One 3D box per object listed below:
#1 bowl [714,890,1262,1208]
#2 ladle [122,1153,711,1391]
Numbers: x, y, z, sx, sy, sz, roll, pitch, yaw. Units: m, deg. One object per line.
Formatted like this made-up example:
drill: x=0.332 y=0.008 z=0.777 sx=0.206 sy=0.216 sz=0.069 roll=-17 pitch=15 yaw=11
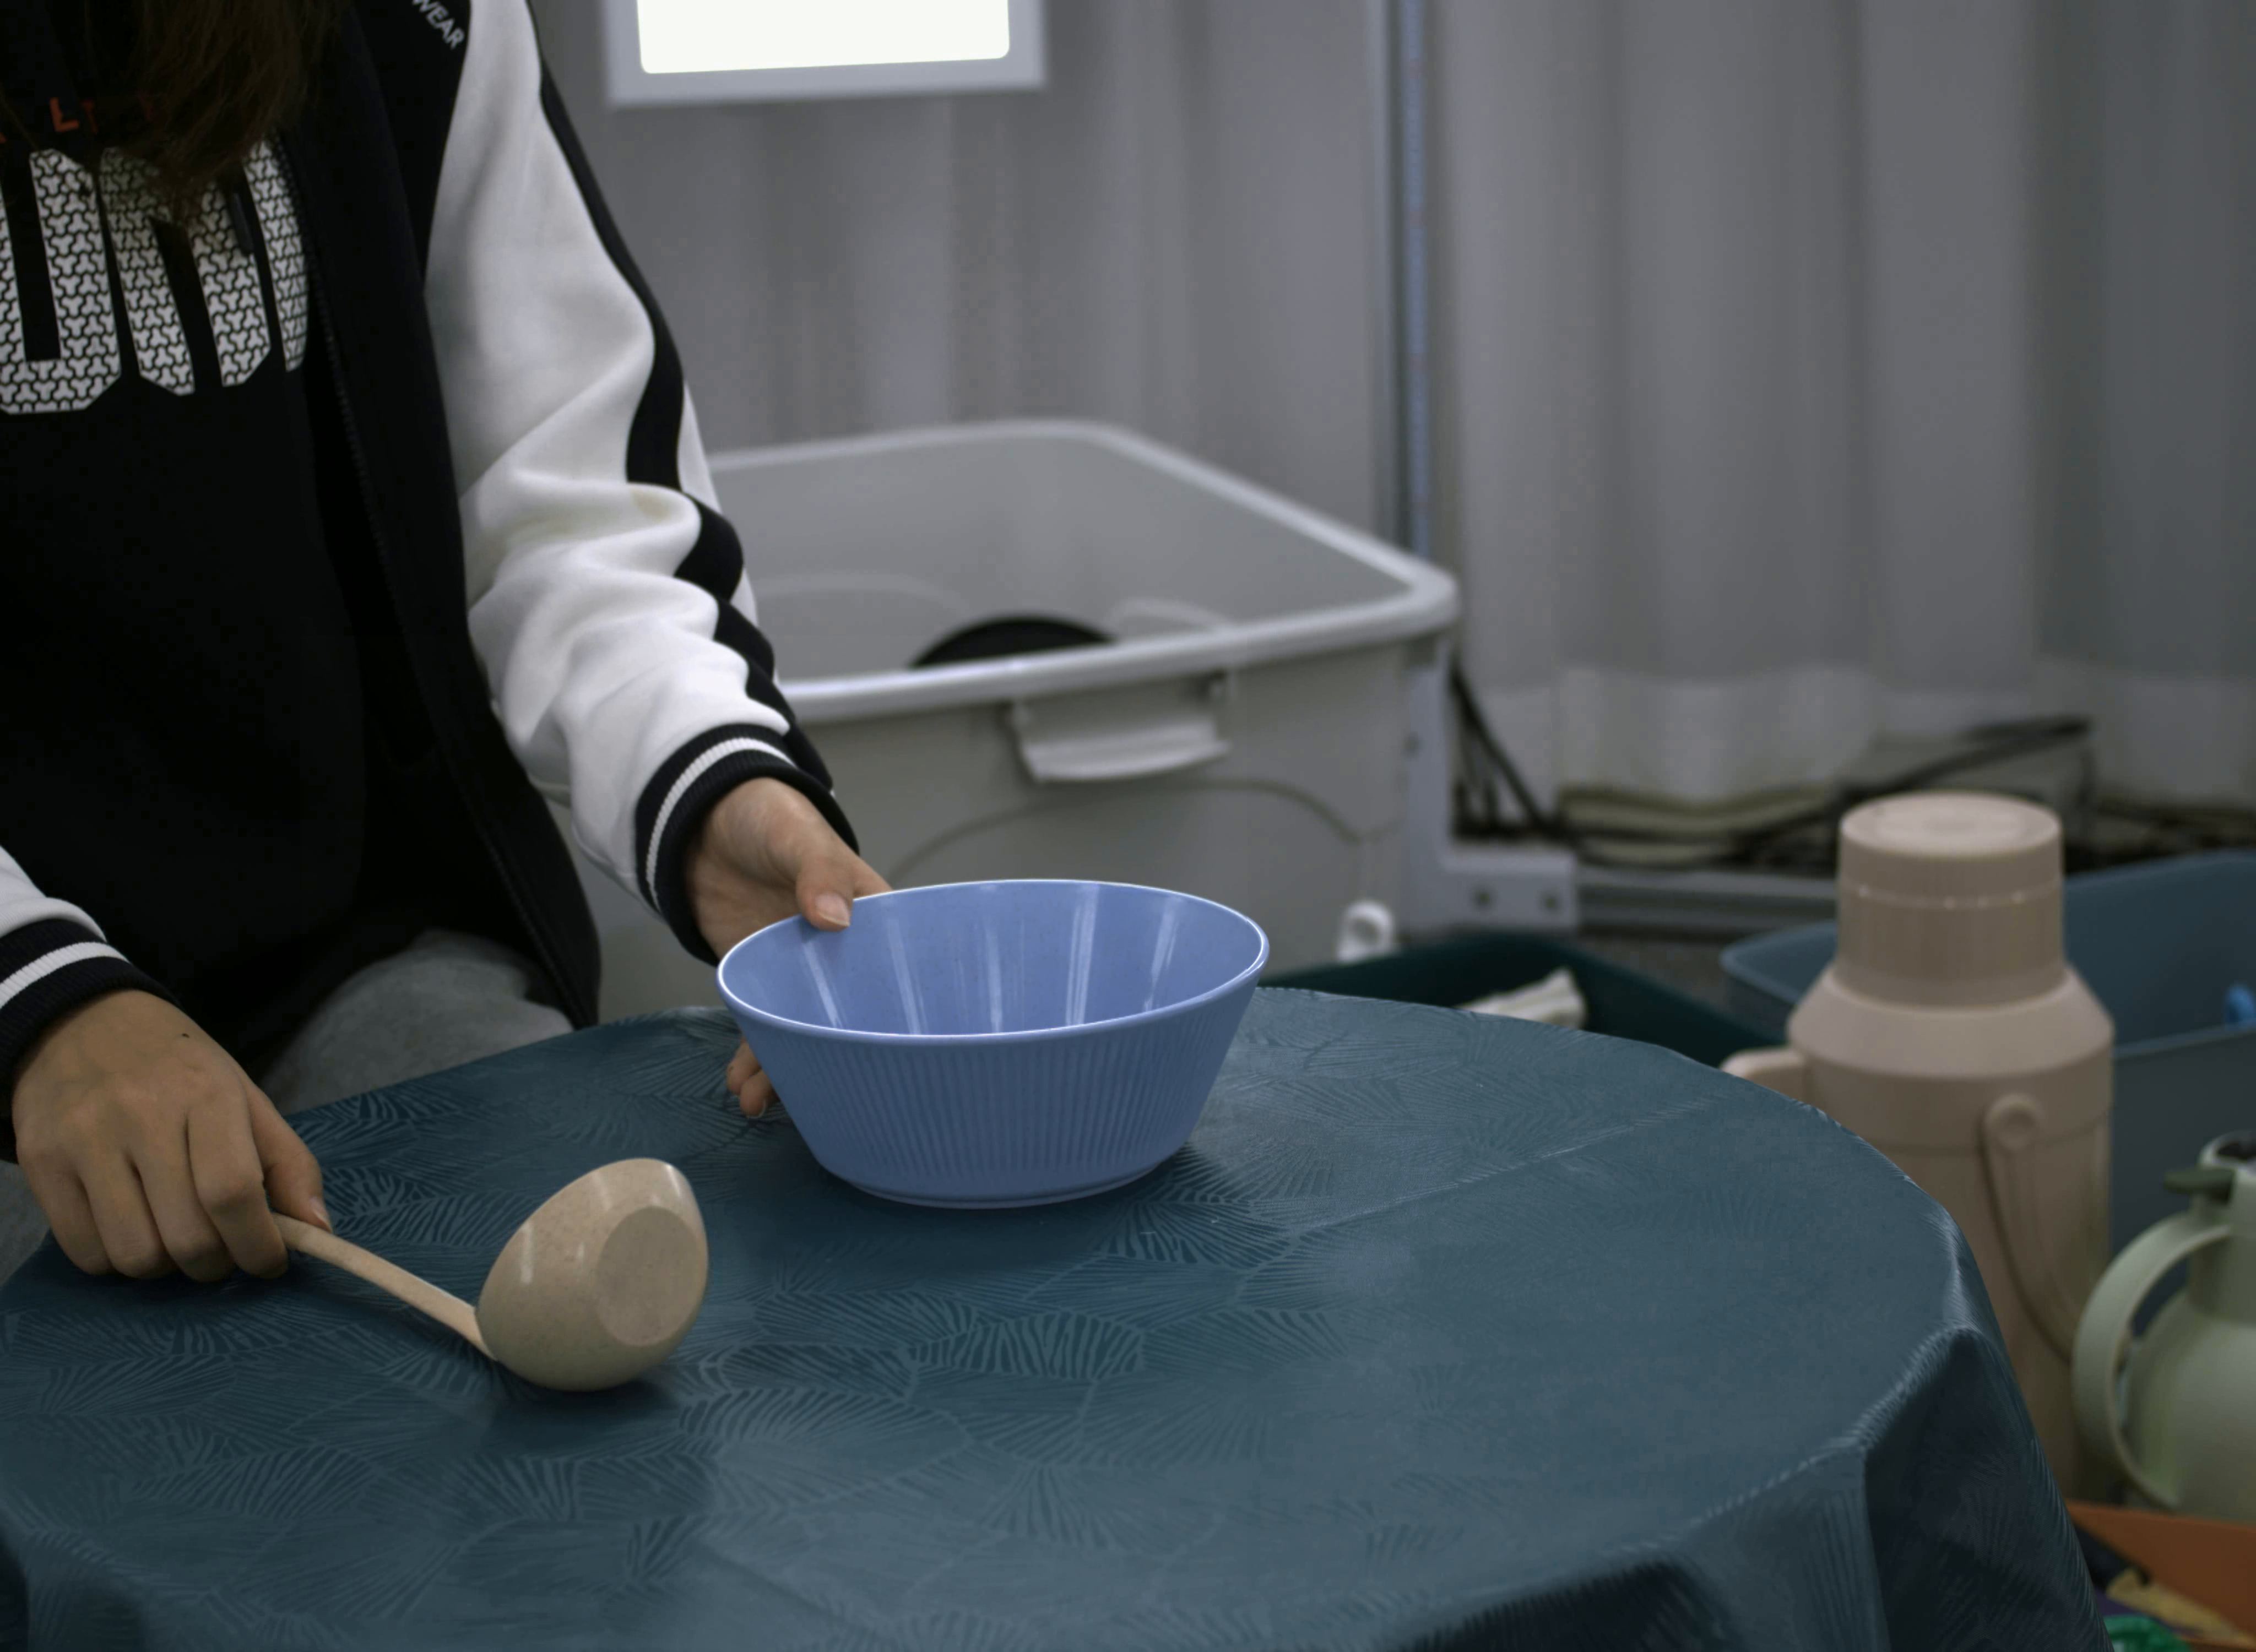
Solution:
bowl: x=-0.043 y=0.073 z=1.745 sx=0.175 sy=0.070 sz=0.177 roll=-2 pitch=14 yaw=0
ladle: x=-0.222 y=0.109 z=1.629 sx=0.072 sy=0.073 sz=0.256 roll=-6 pitch=14 yaw=-44
